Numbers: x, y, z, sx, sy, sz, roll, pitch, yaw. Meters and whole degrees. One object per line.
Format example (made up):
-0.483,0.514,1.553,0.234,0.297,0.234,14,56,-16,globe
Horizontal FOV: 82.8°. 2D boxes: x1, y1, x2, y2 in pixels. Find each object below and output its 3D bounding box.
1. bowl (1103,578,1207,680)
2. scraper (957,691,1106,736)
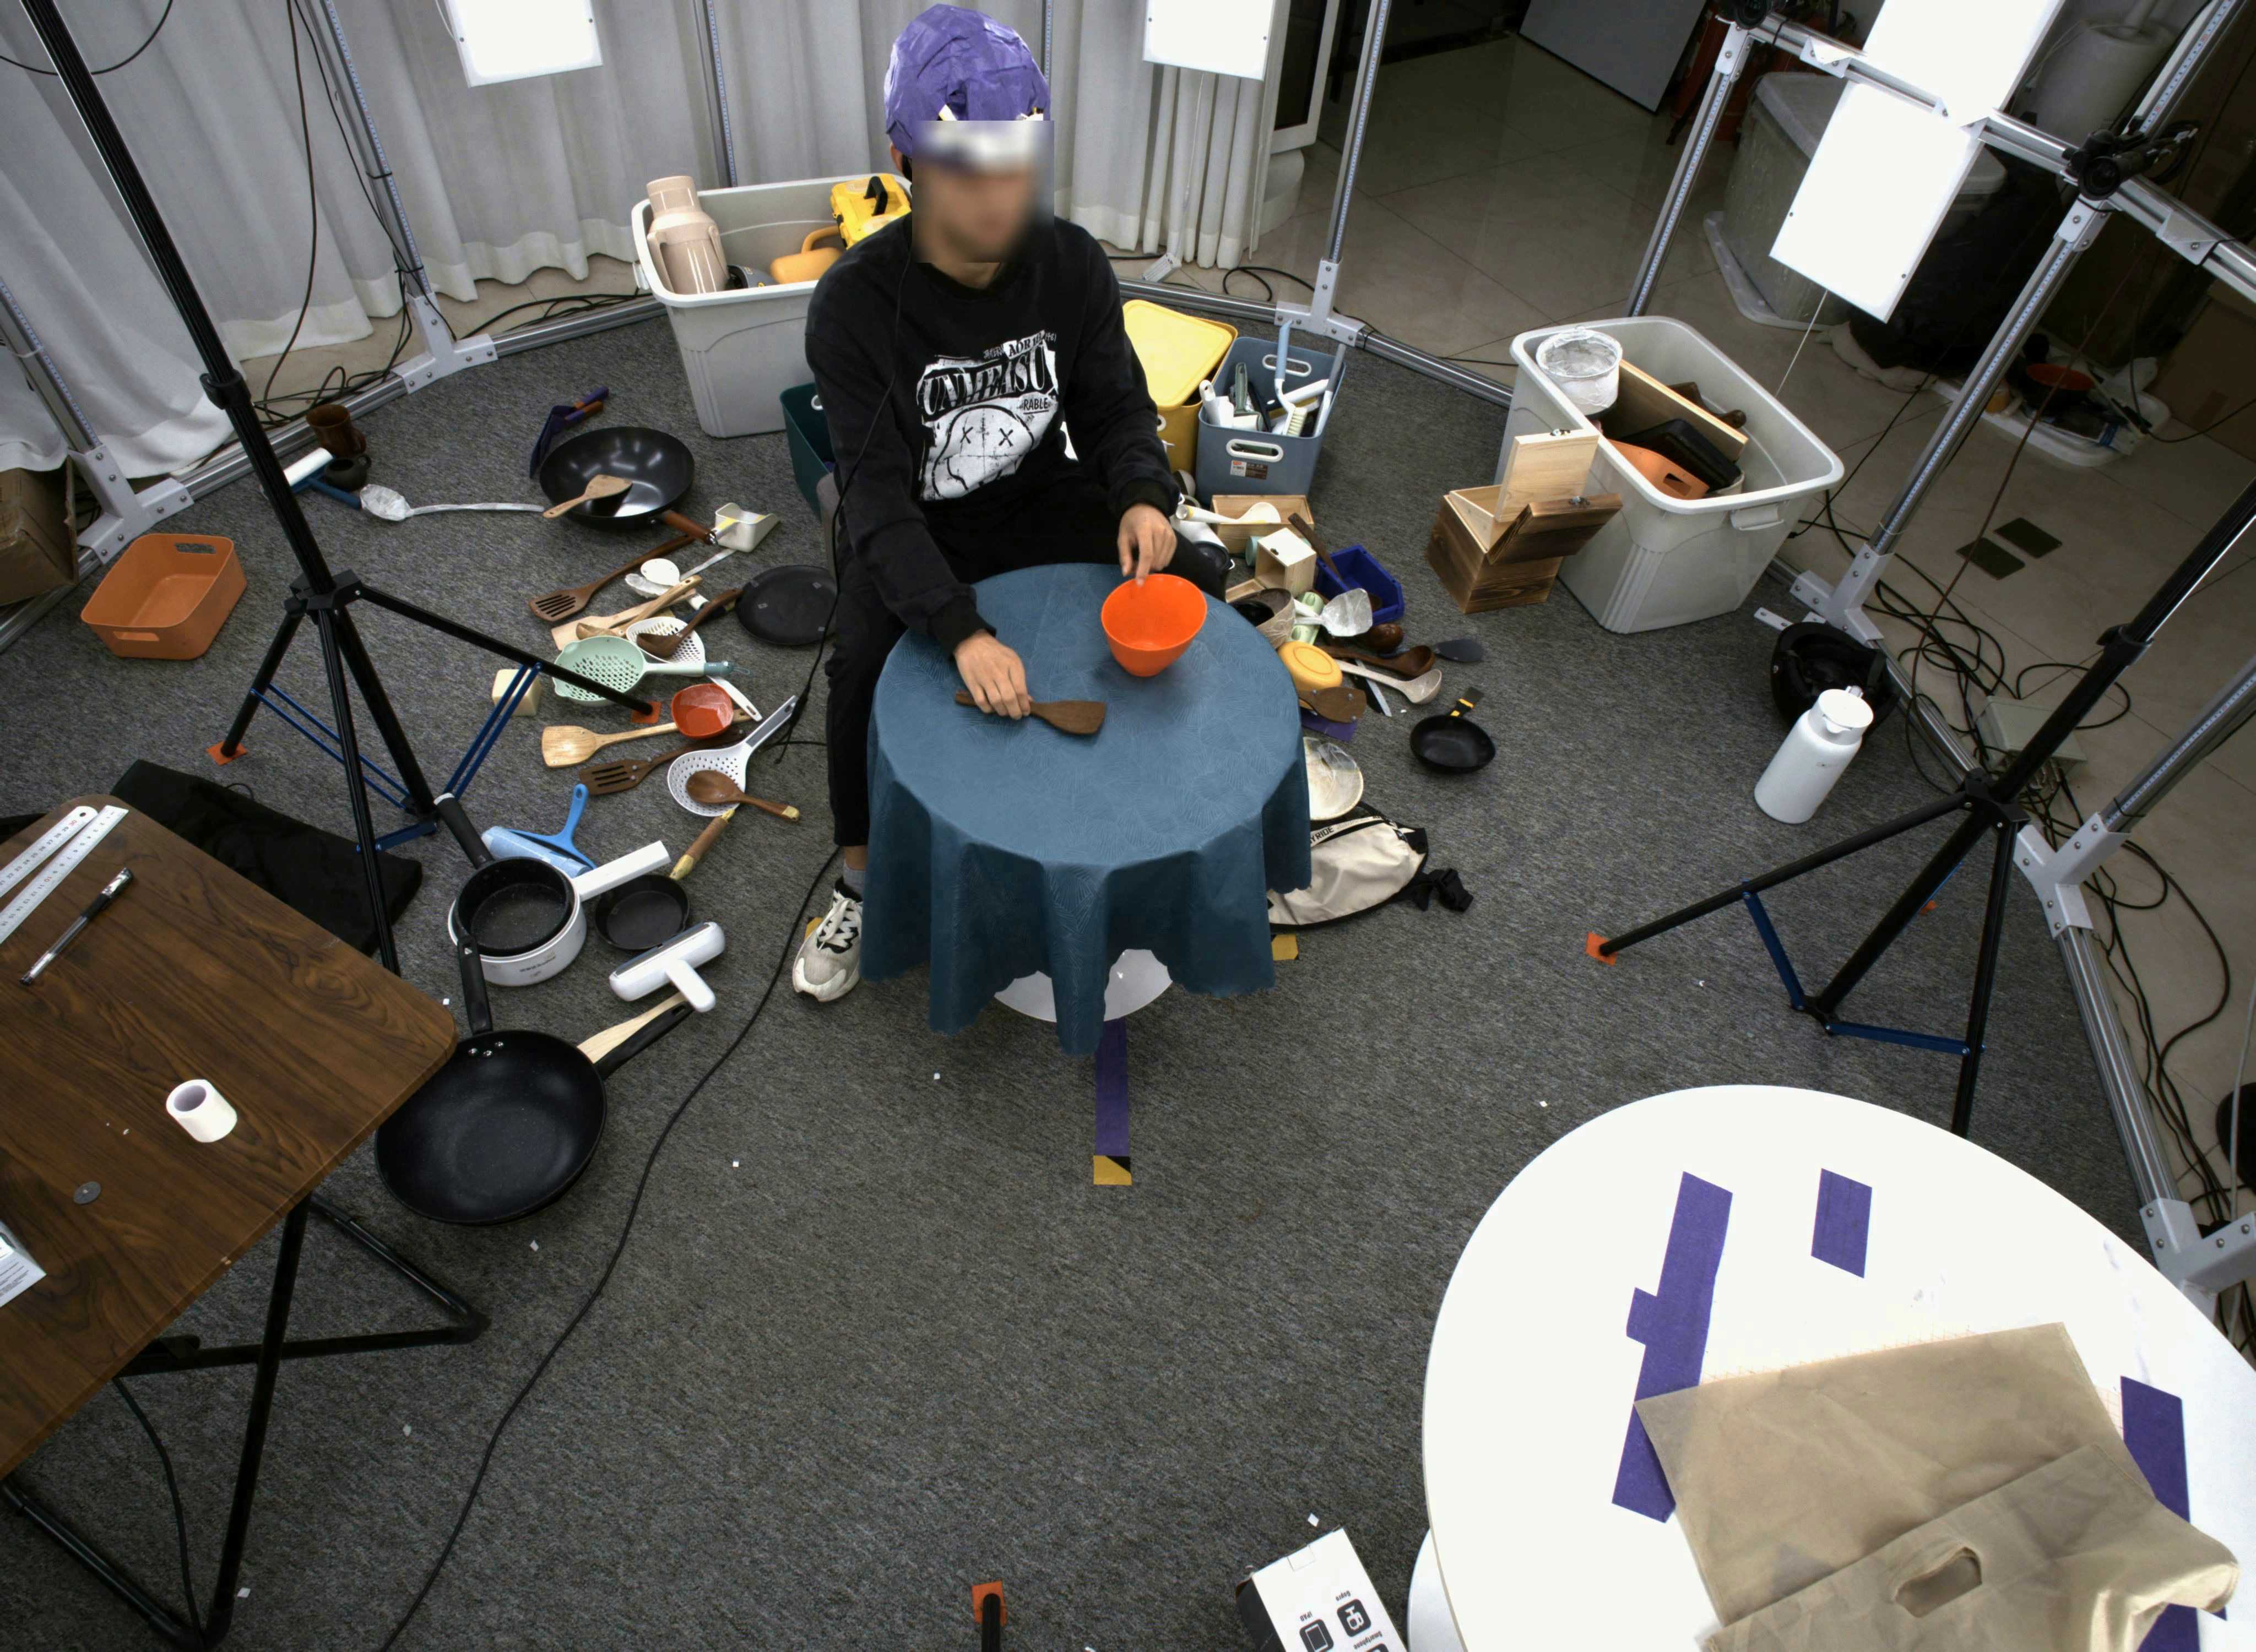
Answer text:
0.036,-0.275,1.861,0.148,0.102,0.152,2,49,-3,bowl
-0.137,-0.165,1.810,0.211,0.010,0.077,10,41,7,scraper
